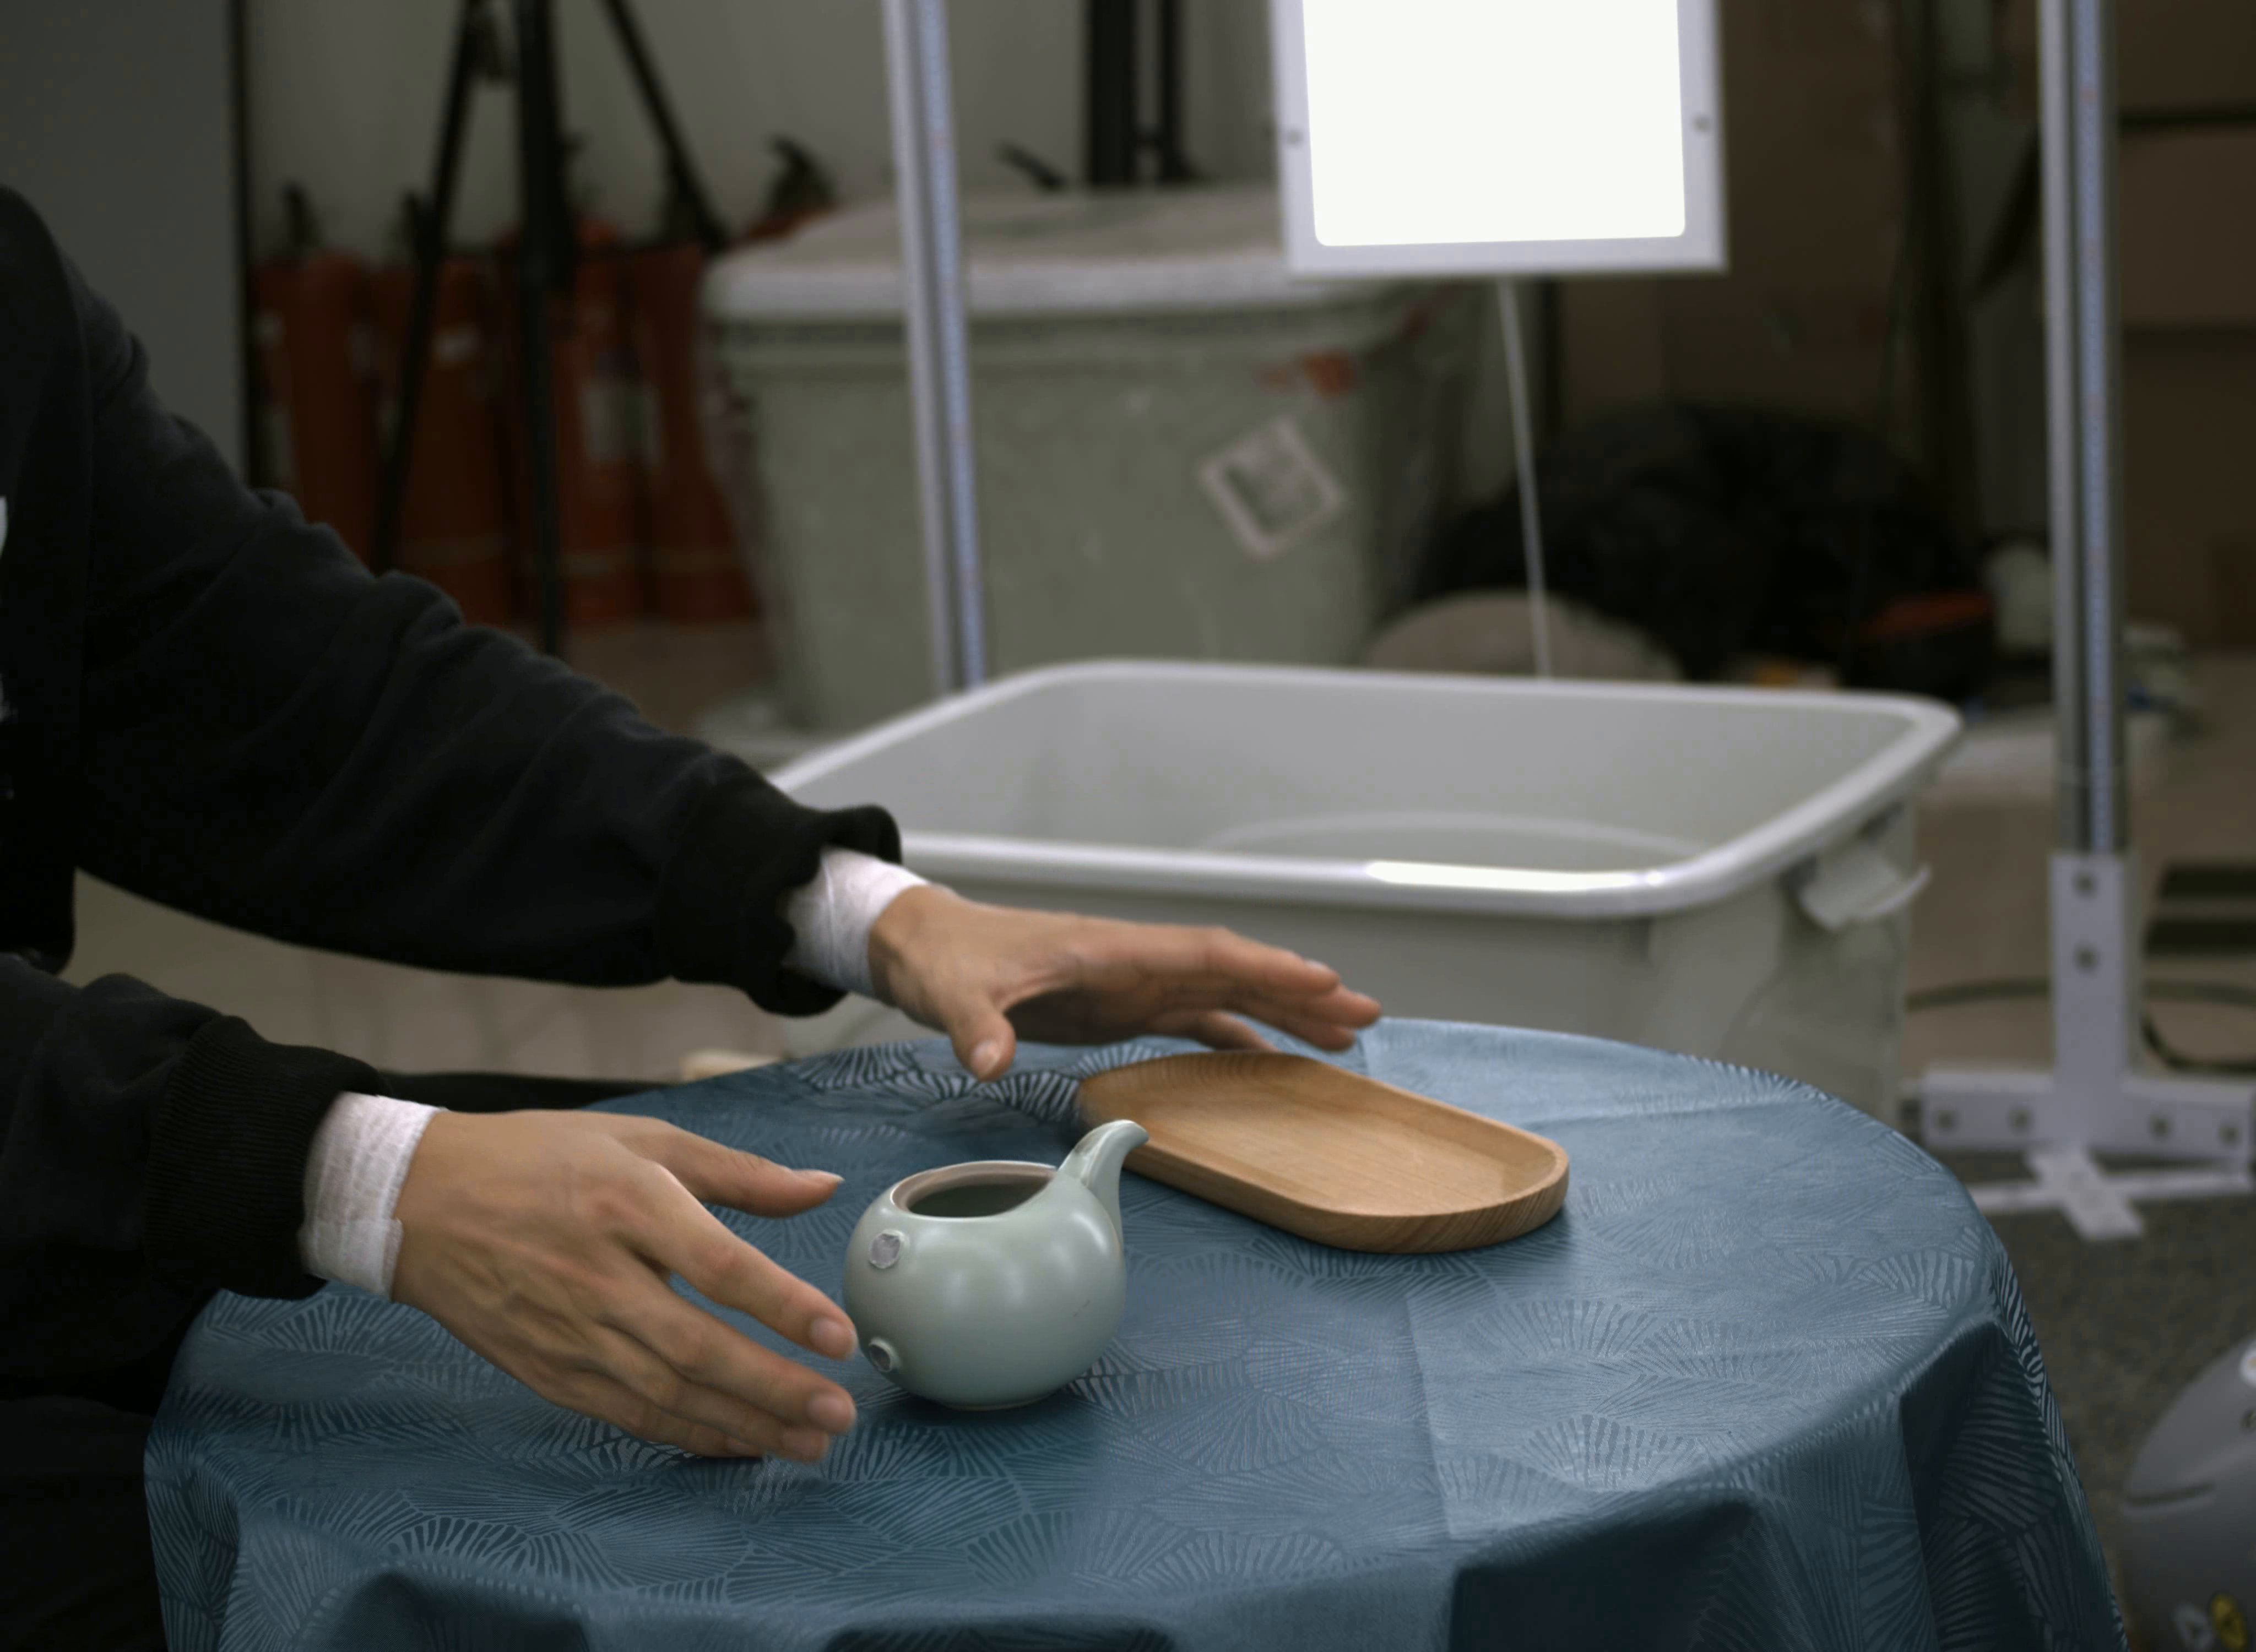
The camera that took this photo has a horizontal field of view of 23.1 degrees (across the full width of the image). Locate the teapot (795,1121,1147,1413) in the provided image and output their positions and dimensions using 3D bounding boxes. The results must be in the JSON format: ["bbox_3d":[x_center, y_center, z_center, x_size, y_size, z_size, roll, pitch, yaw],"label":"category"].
[{"bbox_3d":[-0.046,0.140,1.707,0.140,0.075,0.090,-14,16,-39],"label":"teapot"}]

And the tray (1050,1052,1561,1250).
[{"bbox_3d":[0.060,0.111,1.906,0.099,0.020,0.236,-12,14,-31],"label":"tray"}]
